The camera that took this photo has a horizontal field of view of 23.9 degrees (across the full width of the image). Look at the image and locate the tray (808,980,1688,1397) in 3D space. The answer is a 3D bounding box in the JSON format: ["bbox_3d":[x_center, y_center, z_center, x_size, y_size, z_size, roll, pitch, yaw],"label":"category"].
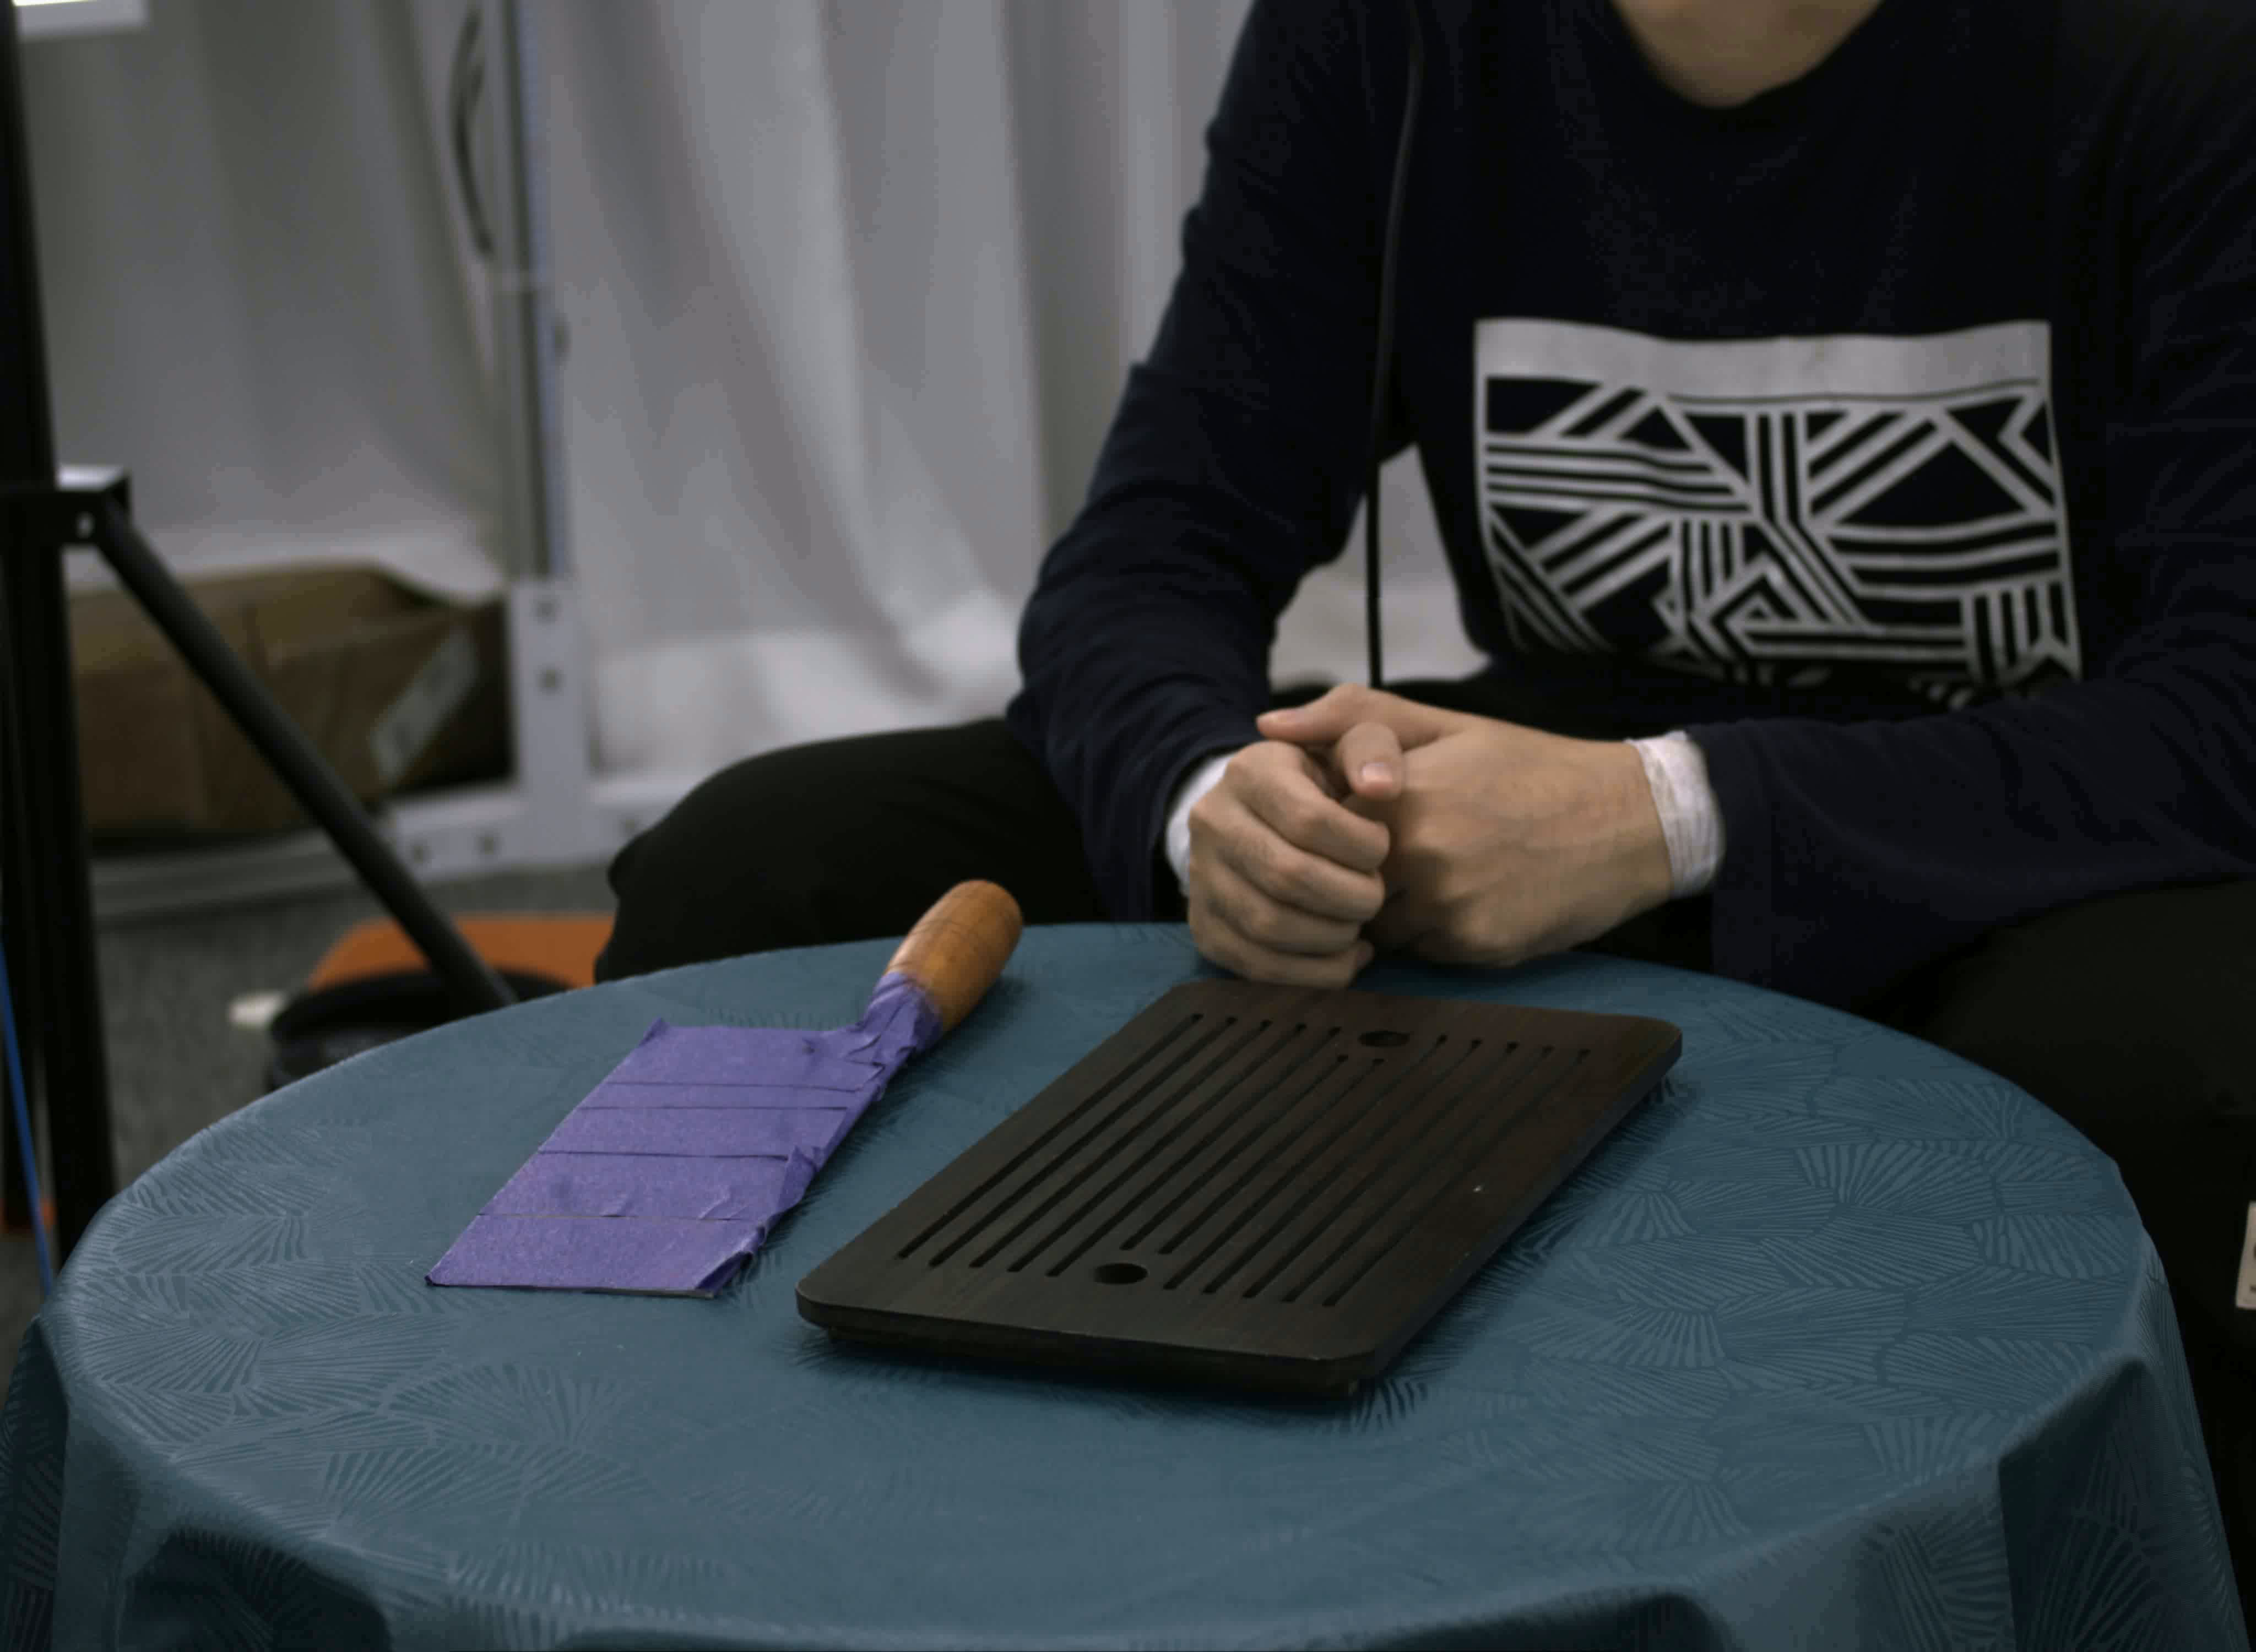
[{"bbox_3d":[0.043,0.102,1.543,0.172,0.018,0.302,4,17,22],"label":"tray"}]

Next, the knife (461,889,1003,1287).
[{"bbox_3d":[-0.119,0.077,1.639,0.104,0.032,0.313,2,17,14],"label":"knife"}]
